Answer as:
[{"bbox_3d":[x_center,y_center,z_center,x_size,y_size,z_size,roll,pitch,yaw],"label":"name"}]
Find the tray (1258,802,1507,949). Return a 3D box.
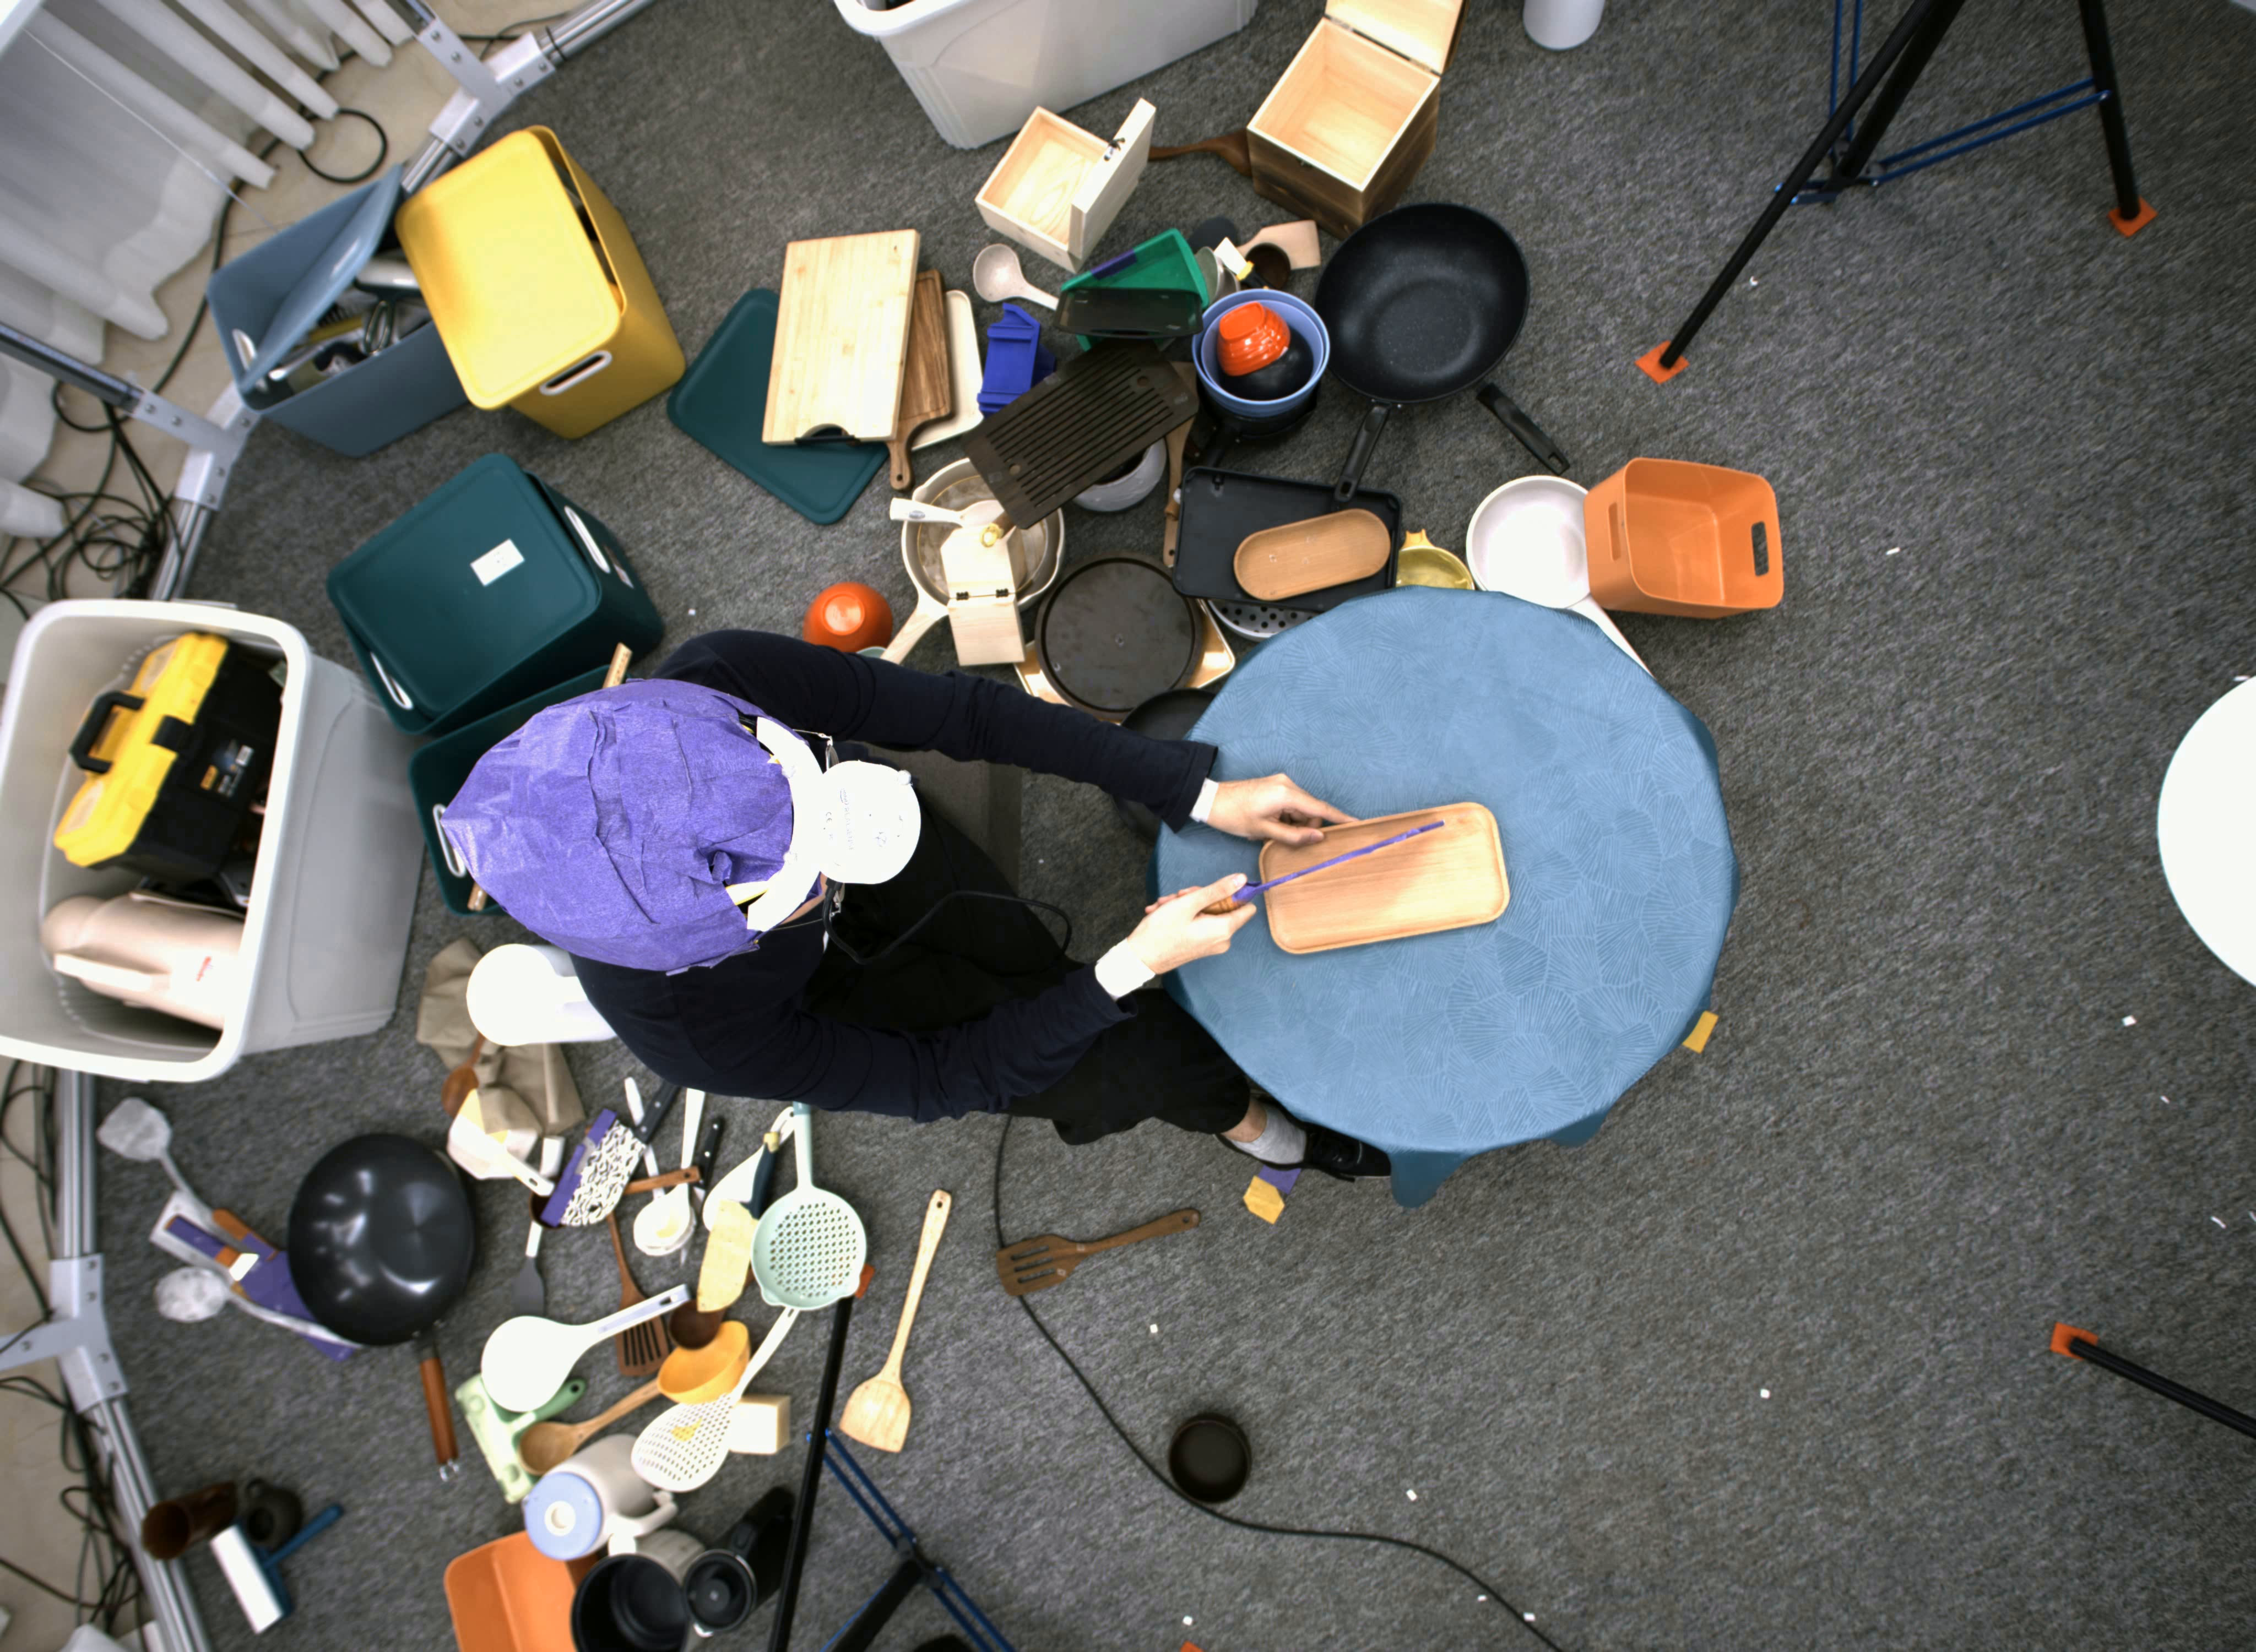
[{"bbox_3d":[0.266,0.051,1.445,0.252,0.023,0.130,-8,88,9],"label":"tray"}]

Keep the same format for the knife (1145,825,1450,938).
[{"bbox_3d":[0.174,0.053,1.404,0.317,0.104,0.032,-18,83,10],"label":"knife"}]
